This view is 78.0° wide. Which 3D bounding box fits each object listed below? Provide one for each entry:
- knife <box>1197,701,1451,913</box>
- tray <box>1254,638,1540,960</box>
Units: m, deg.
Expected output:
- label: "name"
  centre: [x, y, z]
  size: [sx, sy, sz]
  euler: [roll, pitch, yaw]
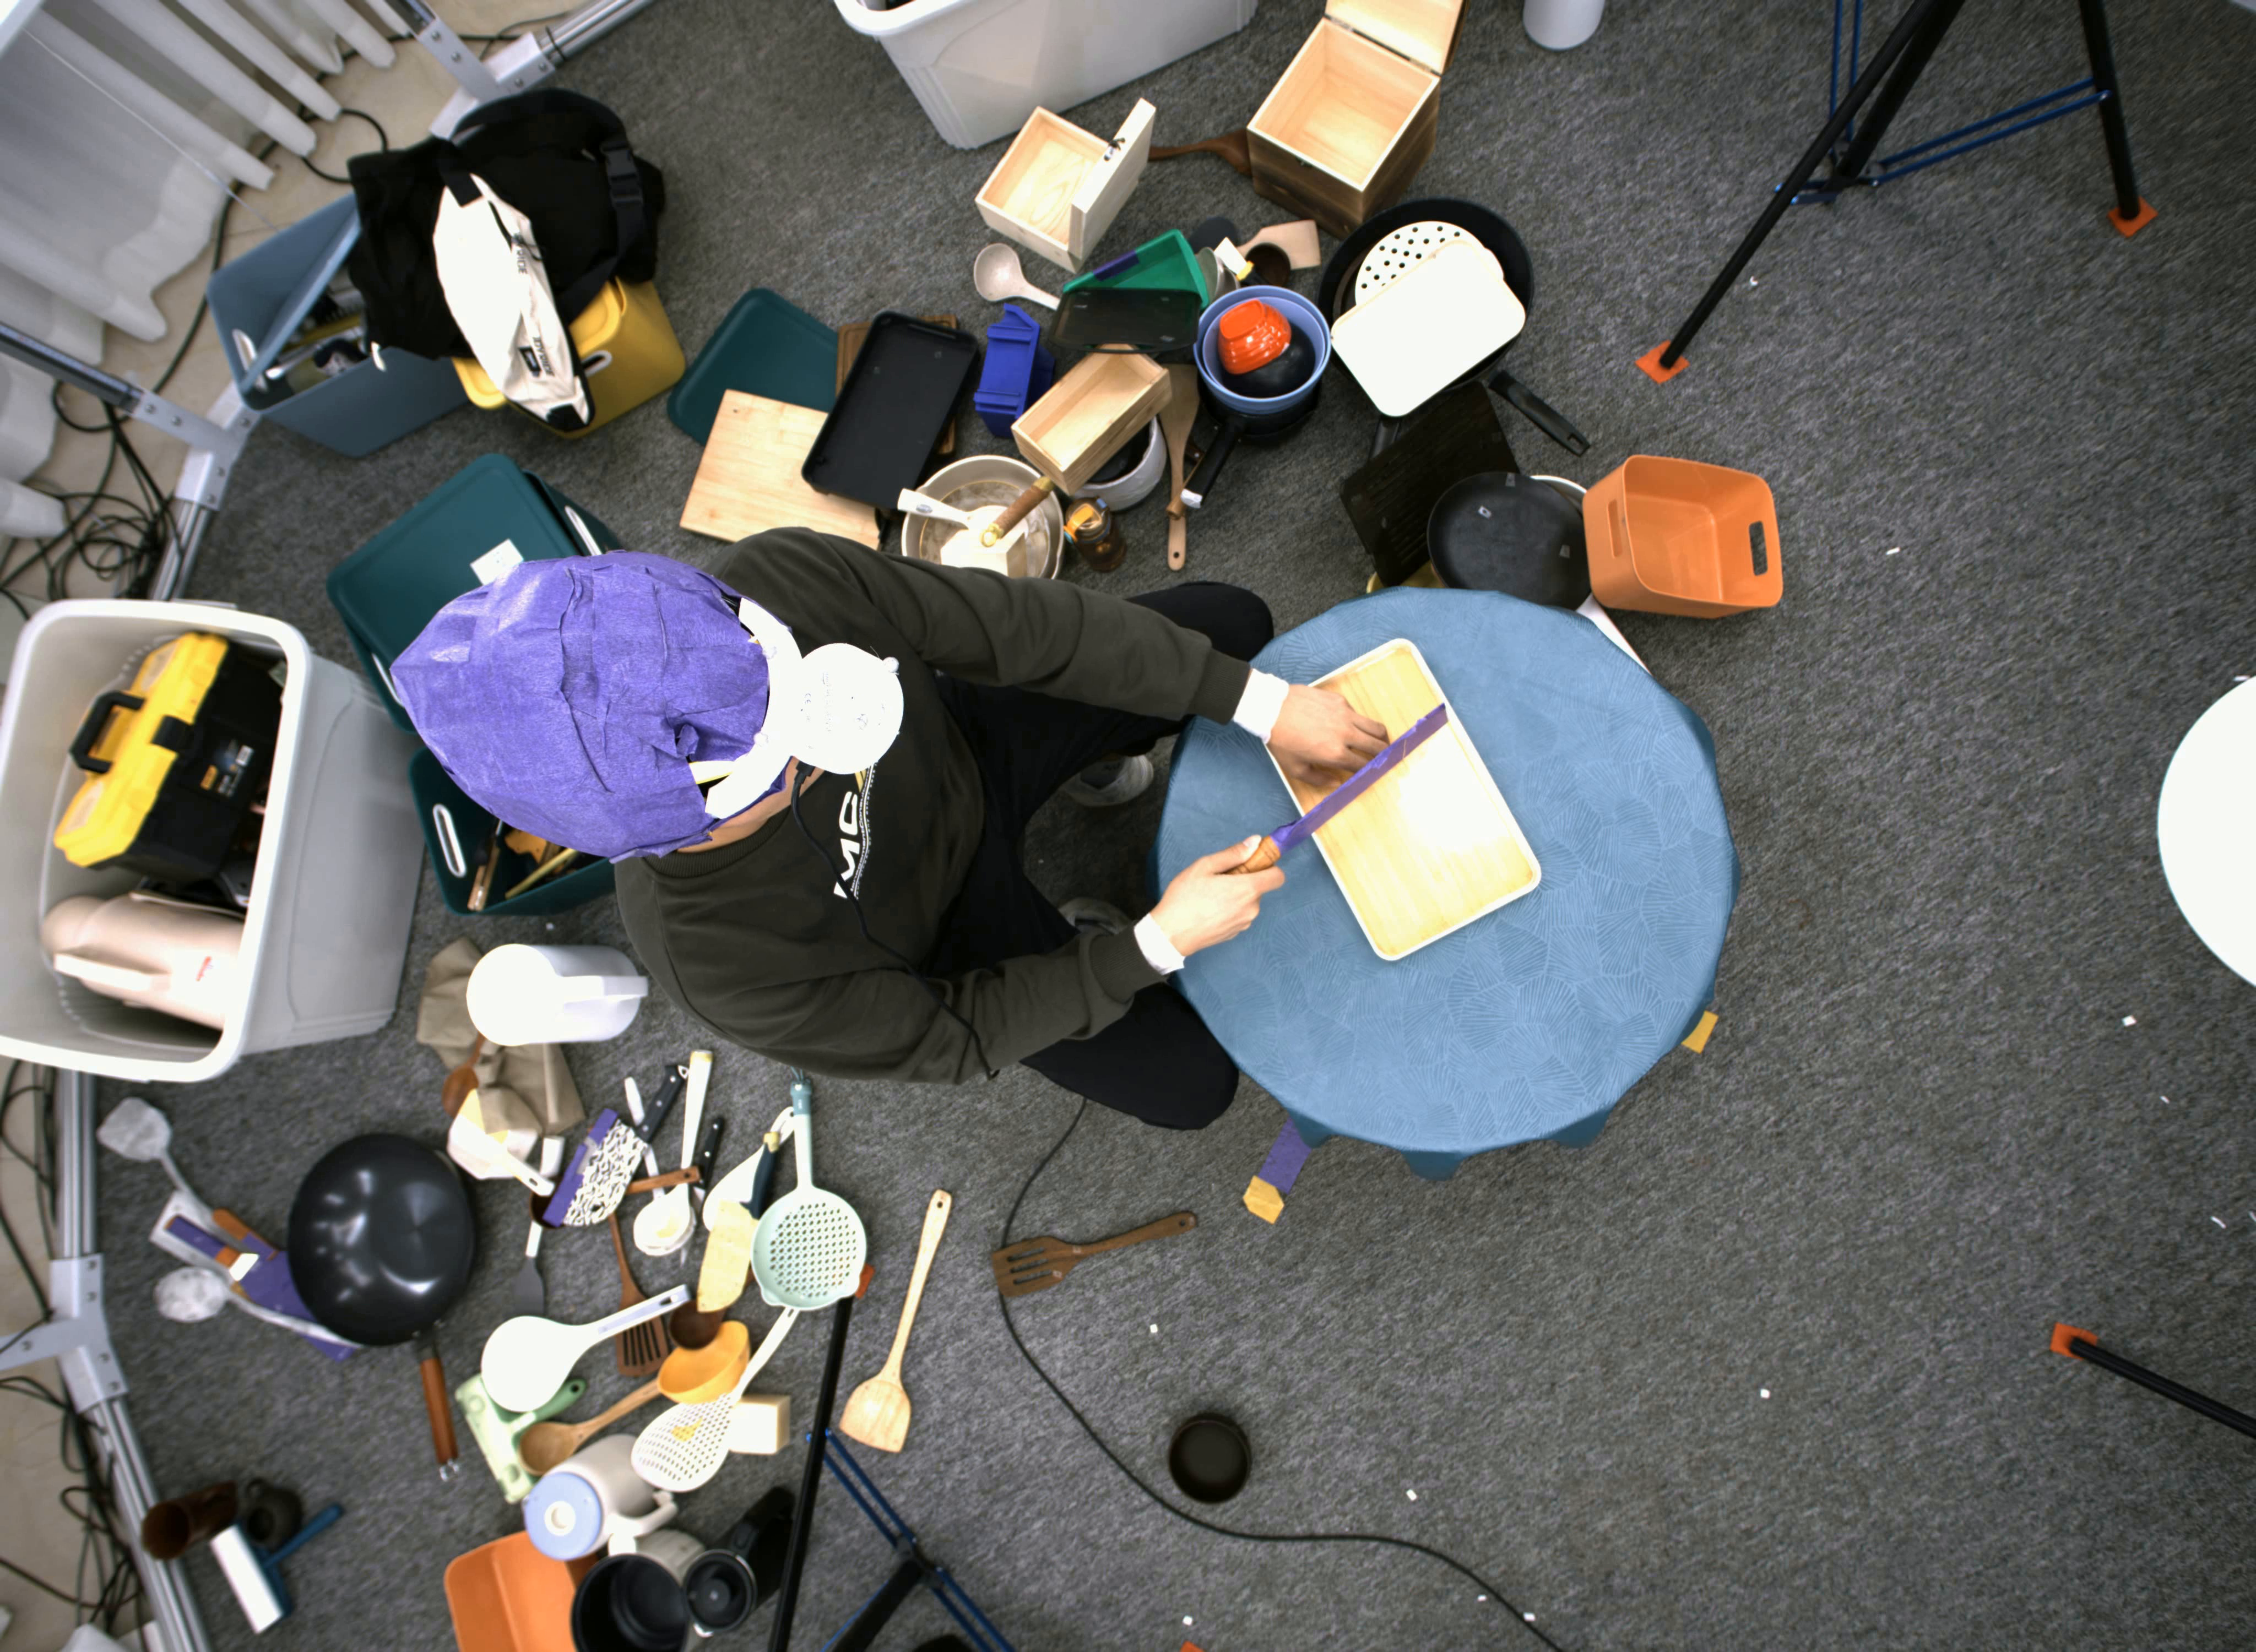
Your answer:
- label: "knife"
  centre: [0.204, -0.014, 1.394]
  size: [0.315, 0.105, 0.032]
  euler: [-38, 72, 1]
- label: "tray"
  centre: [0.280, -0.030, 1.449]
  size: [0.192, 0.027, 0.298]
  euler: [-28, 82, 7]
